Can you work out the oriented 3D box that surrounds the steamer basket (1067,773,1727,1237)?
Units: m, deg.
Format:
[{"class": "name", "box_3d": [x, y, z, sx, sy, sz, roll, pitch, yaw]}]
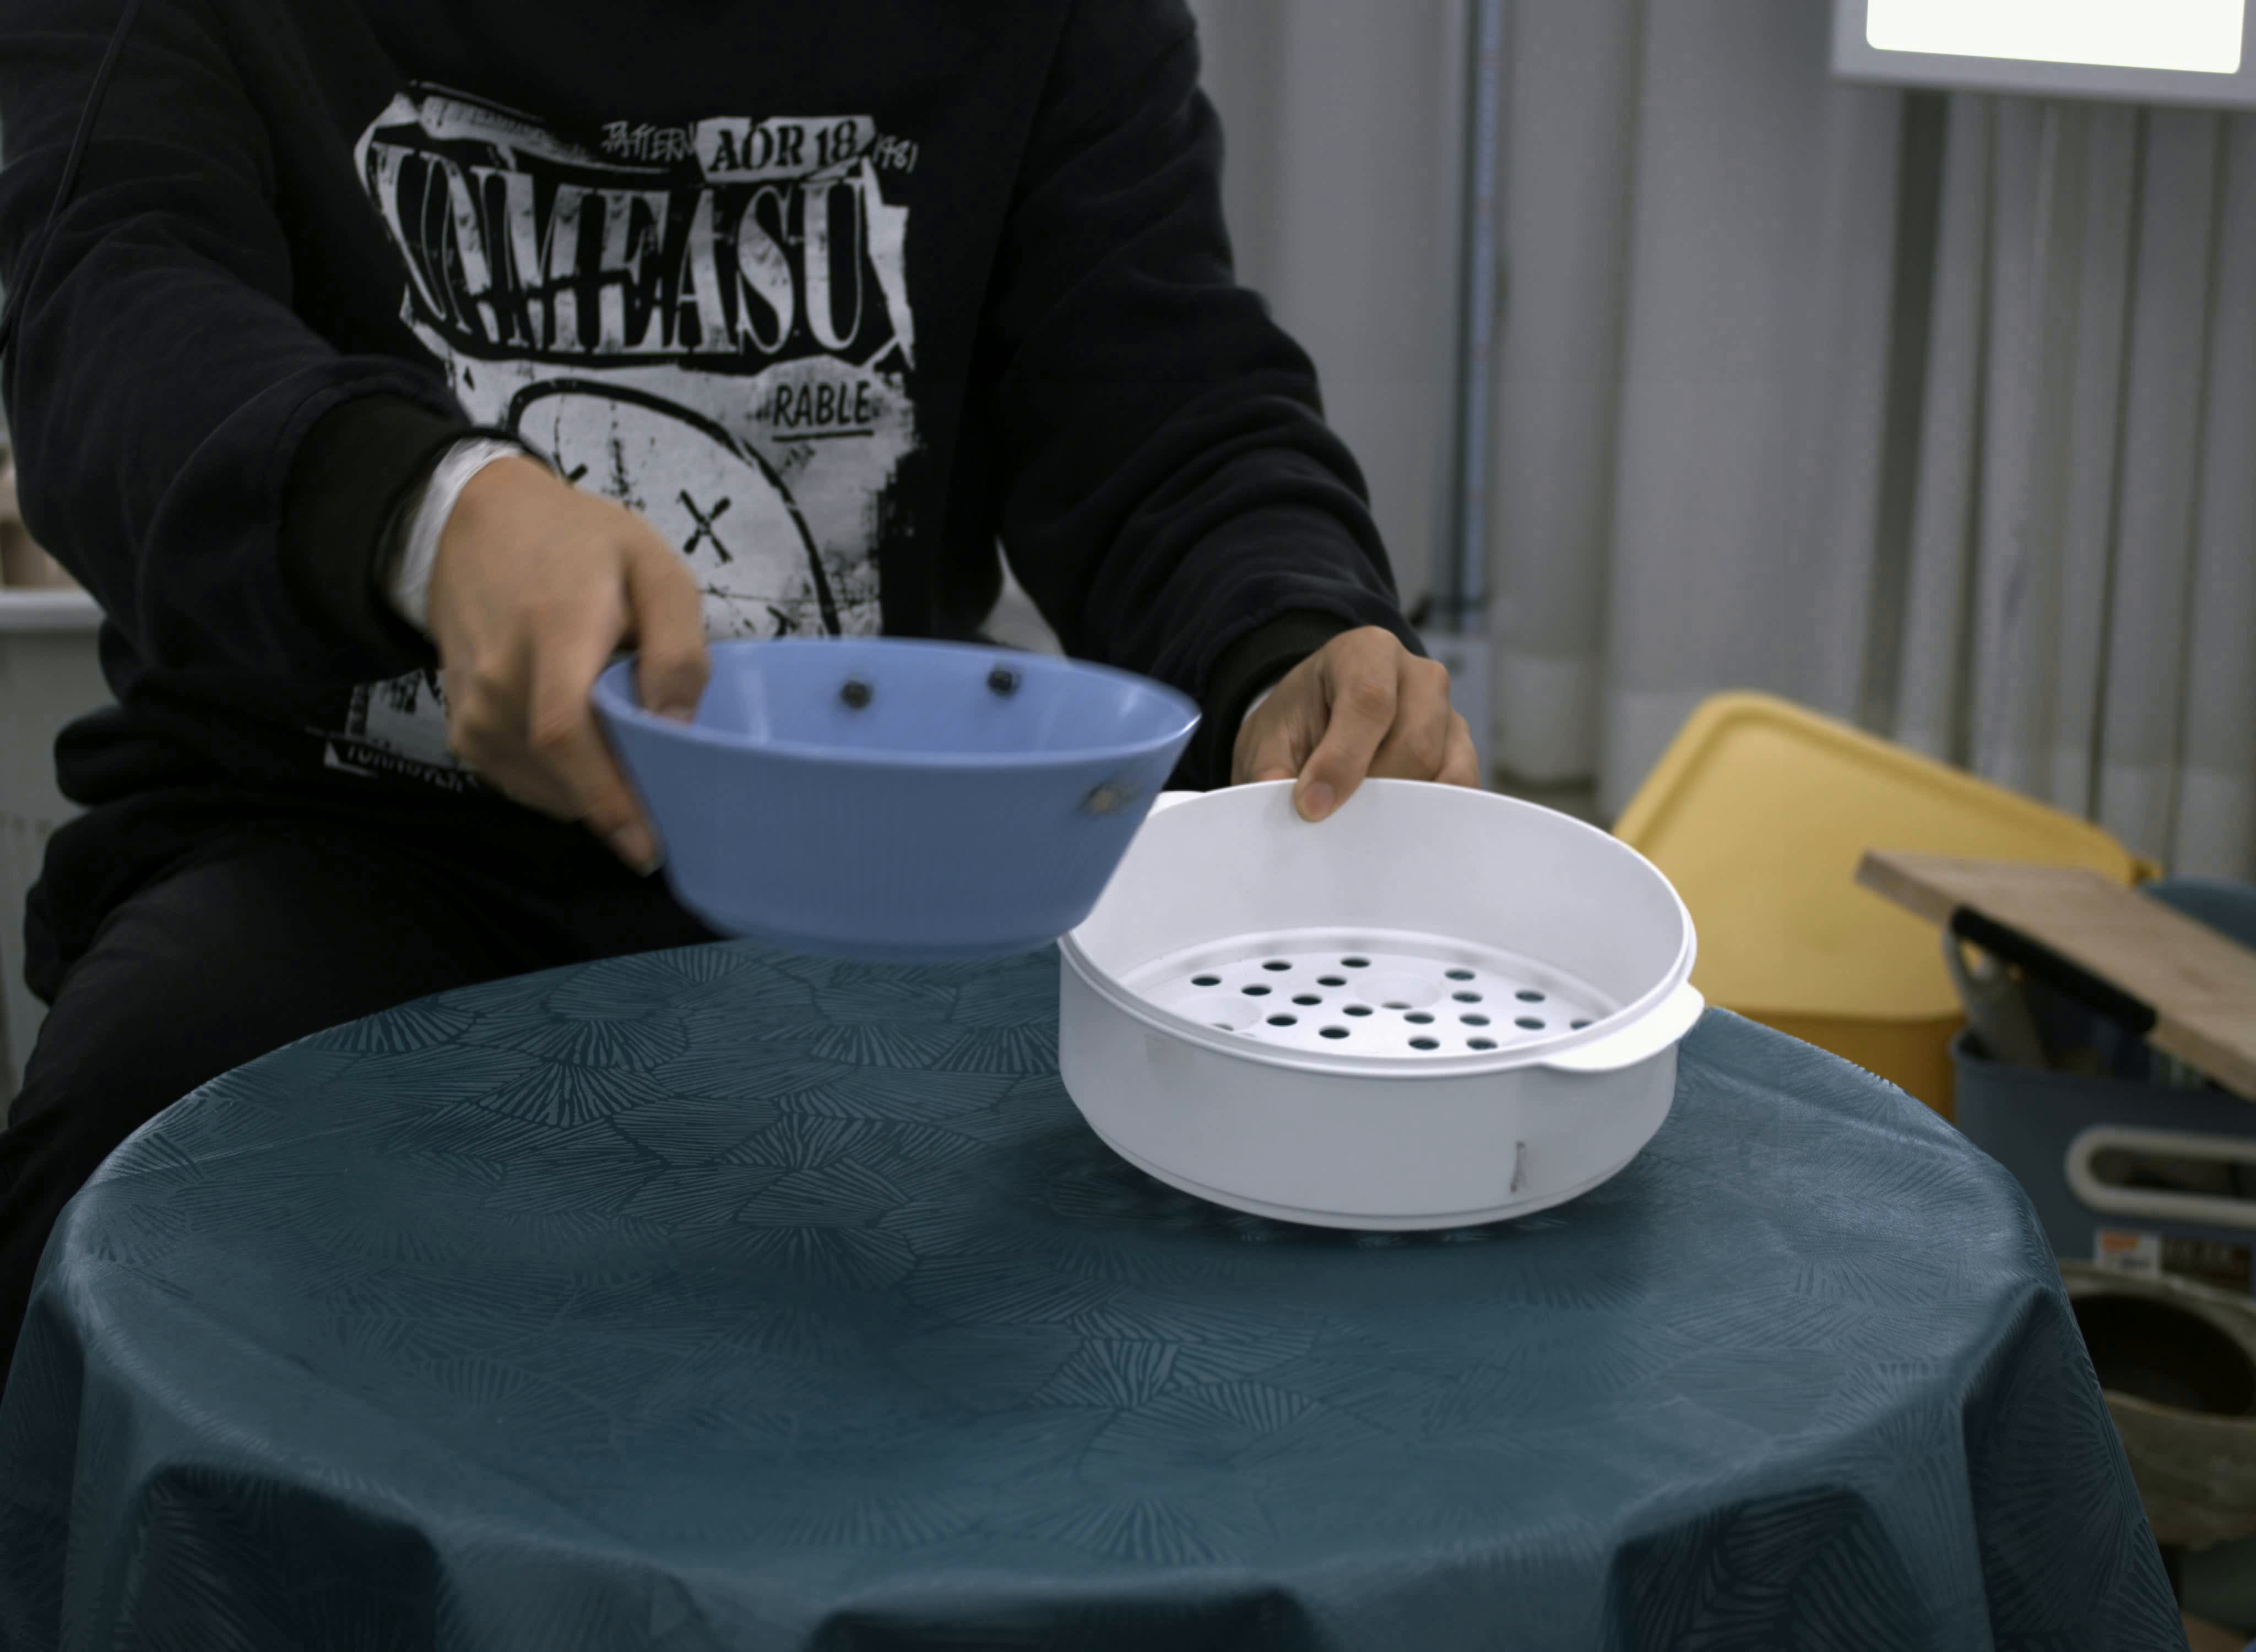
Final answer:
[{"class": "steamer basket", "box_3d": [0.080, 0.056, 1.645, 0.227, 0.070, 0.202, 24, 33, 34]}]

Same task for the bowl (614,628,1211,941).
[{"class": "bowl", "box_3d": [-0.065, -0.011, 1.542, 0.175, 0.071, 0.175, 4, 12, 0]}]
